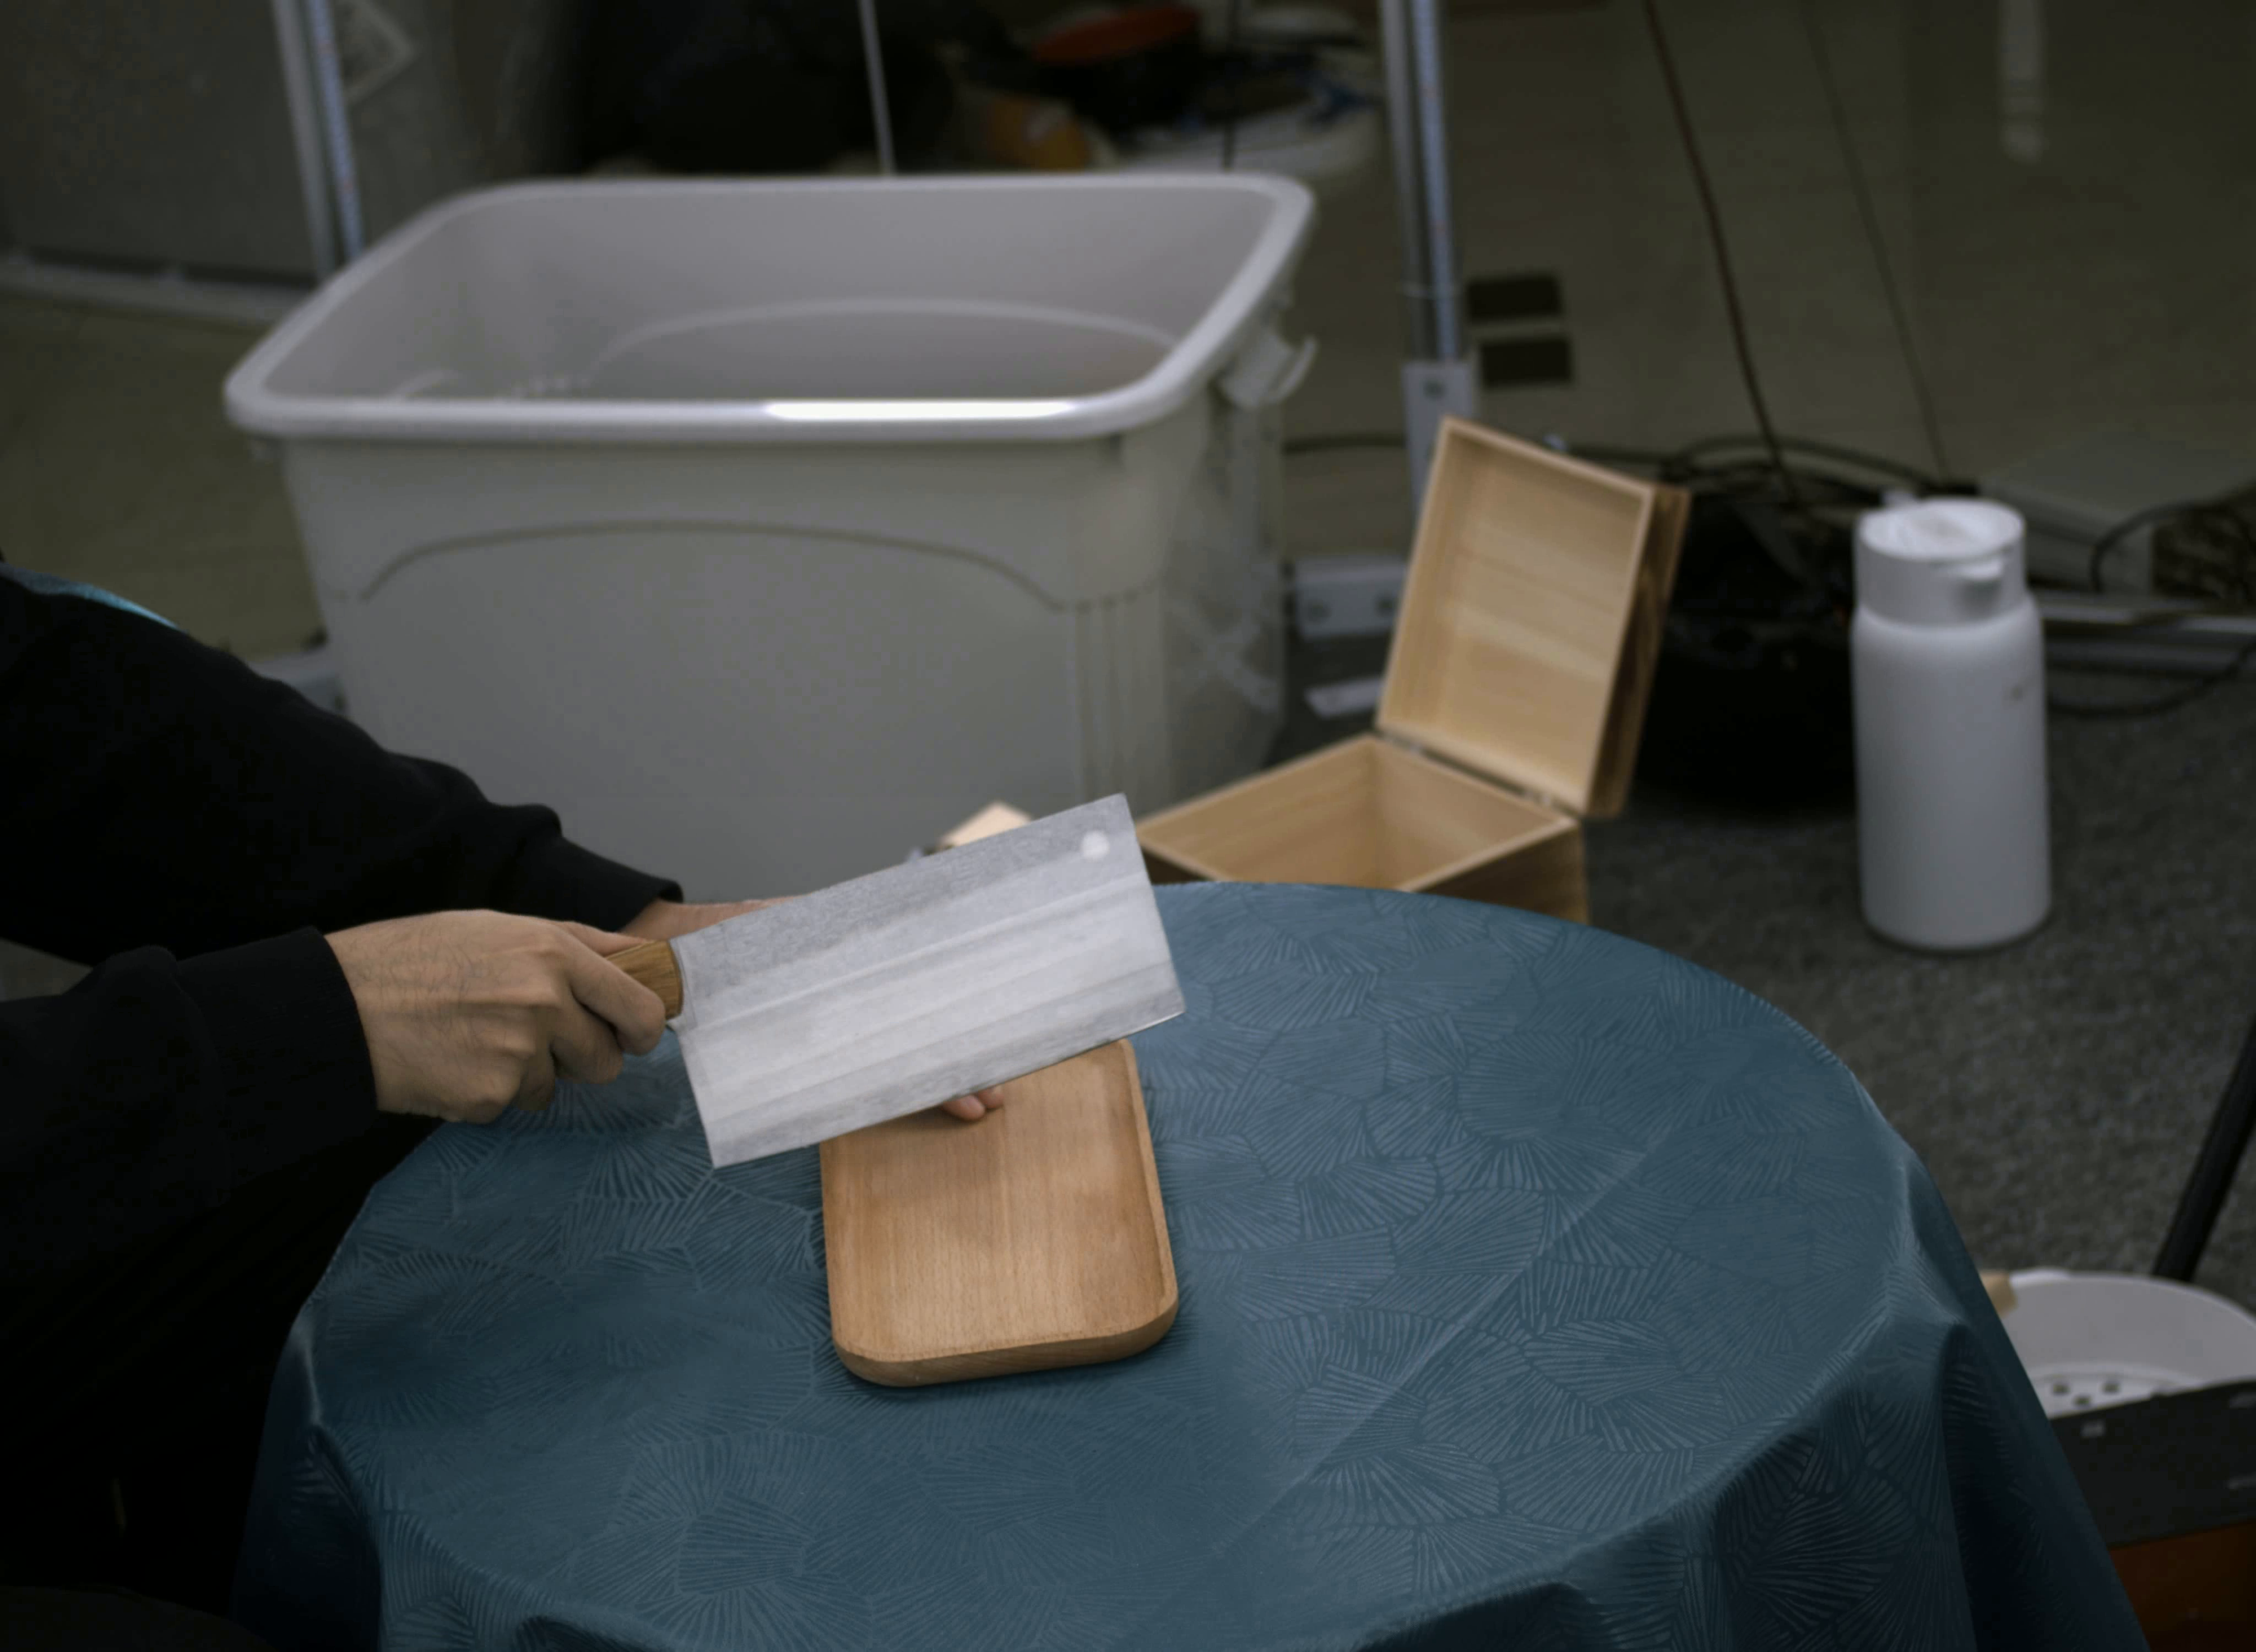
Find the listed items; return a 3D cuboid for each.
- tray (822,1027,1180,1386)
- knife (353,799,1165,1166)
[{"bbox_3d":[-0.050,0.141,2.137,0.130,0.023,0.247,-5,24,-1],"label":"tray"},{"bbox_3d":[-0.133,0.074,2.117,0.305,0.094,0.021,-17,15,-11],"label":"knife"}]
